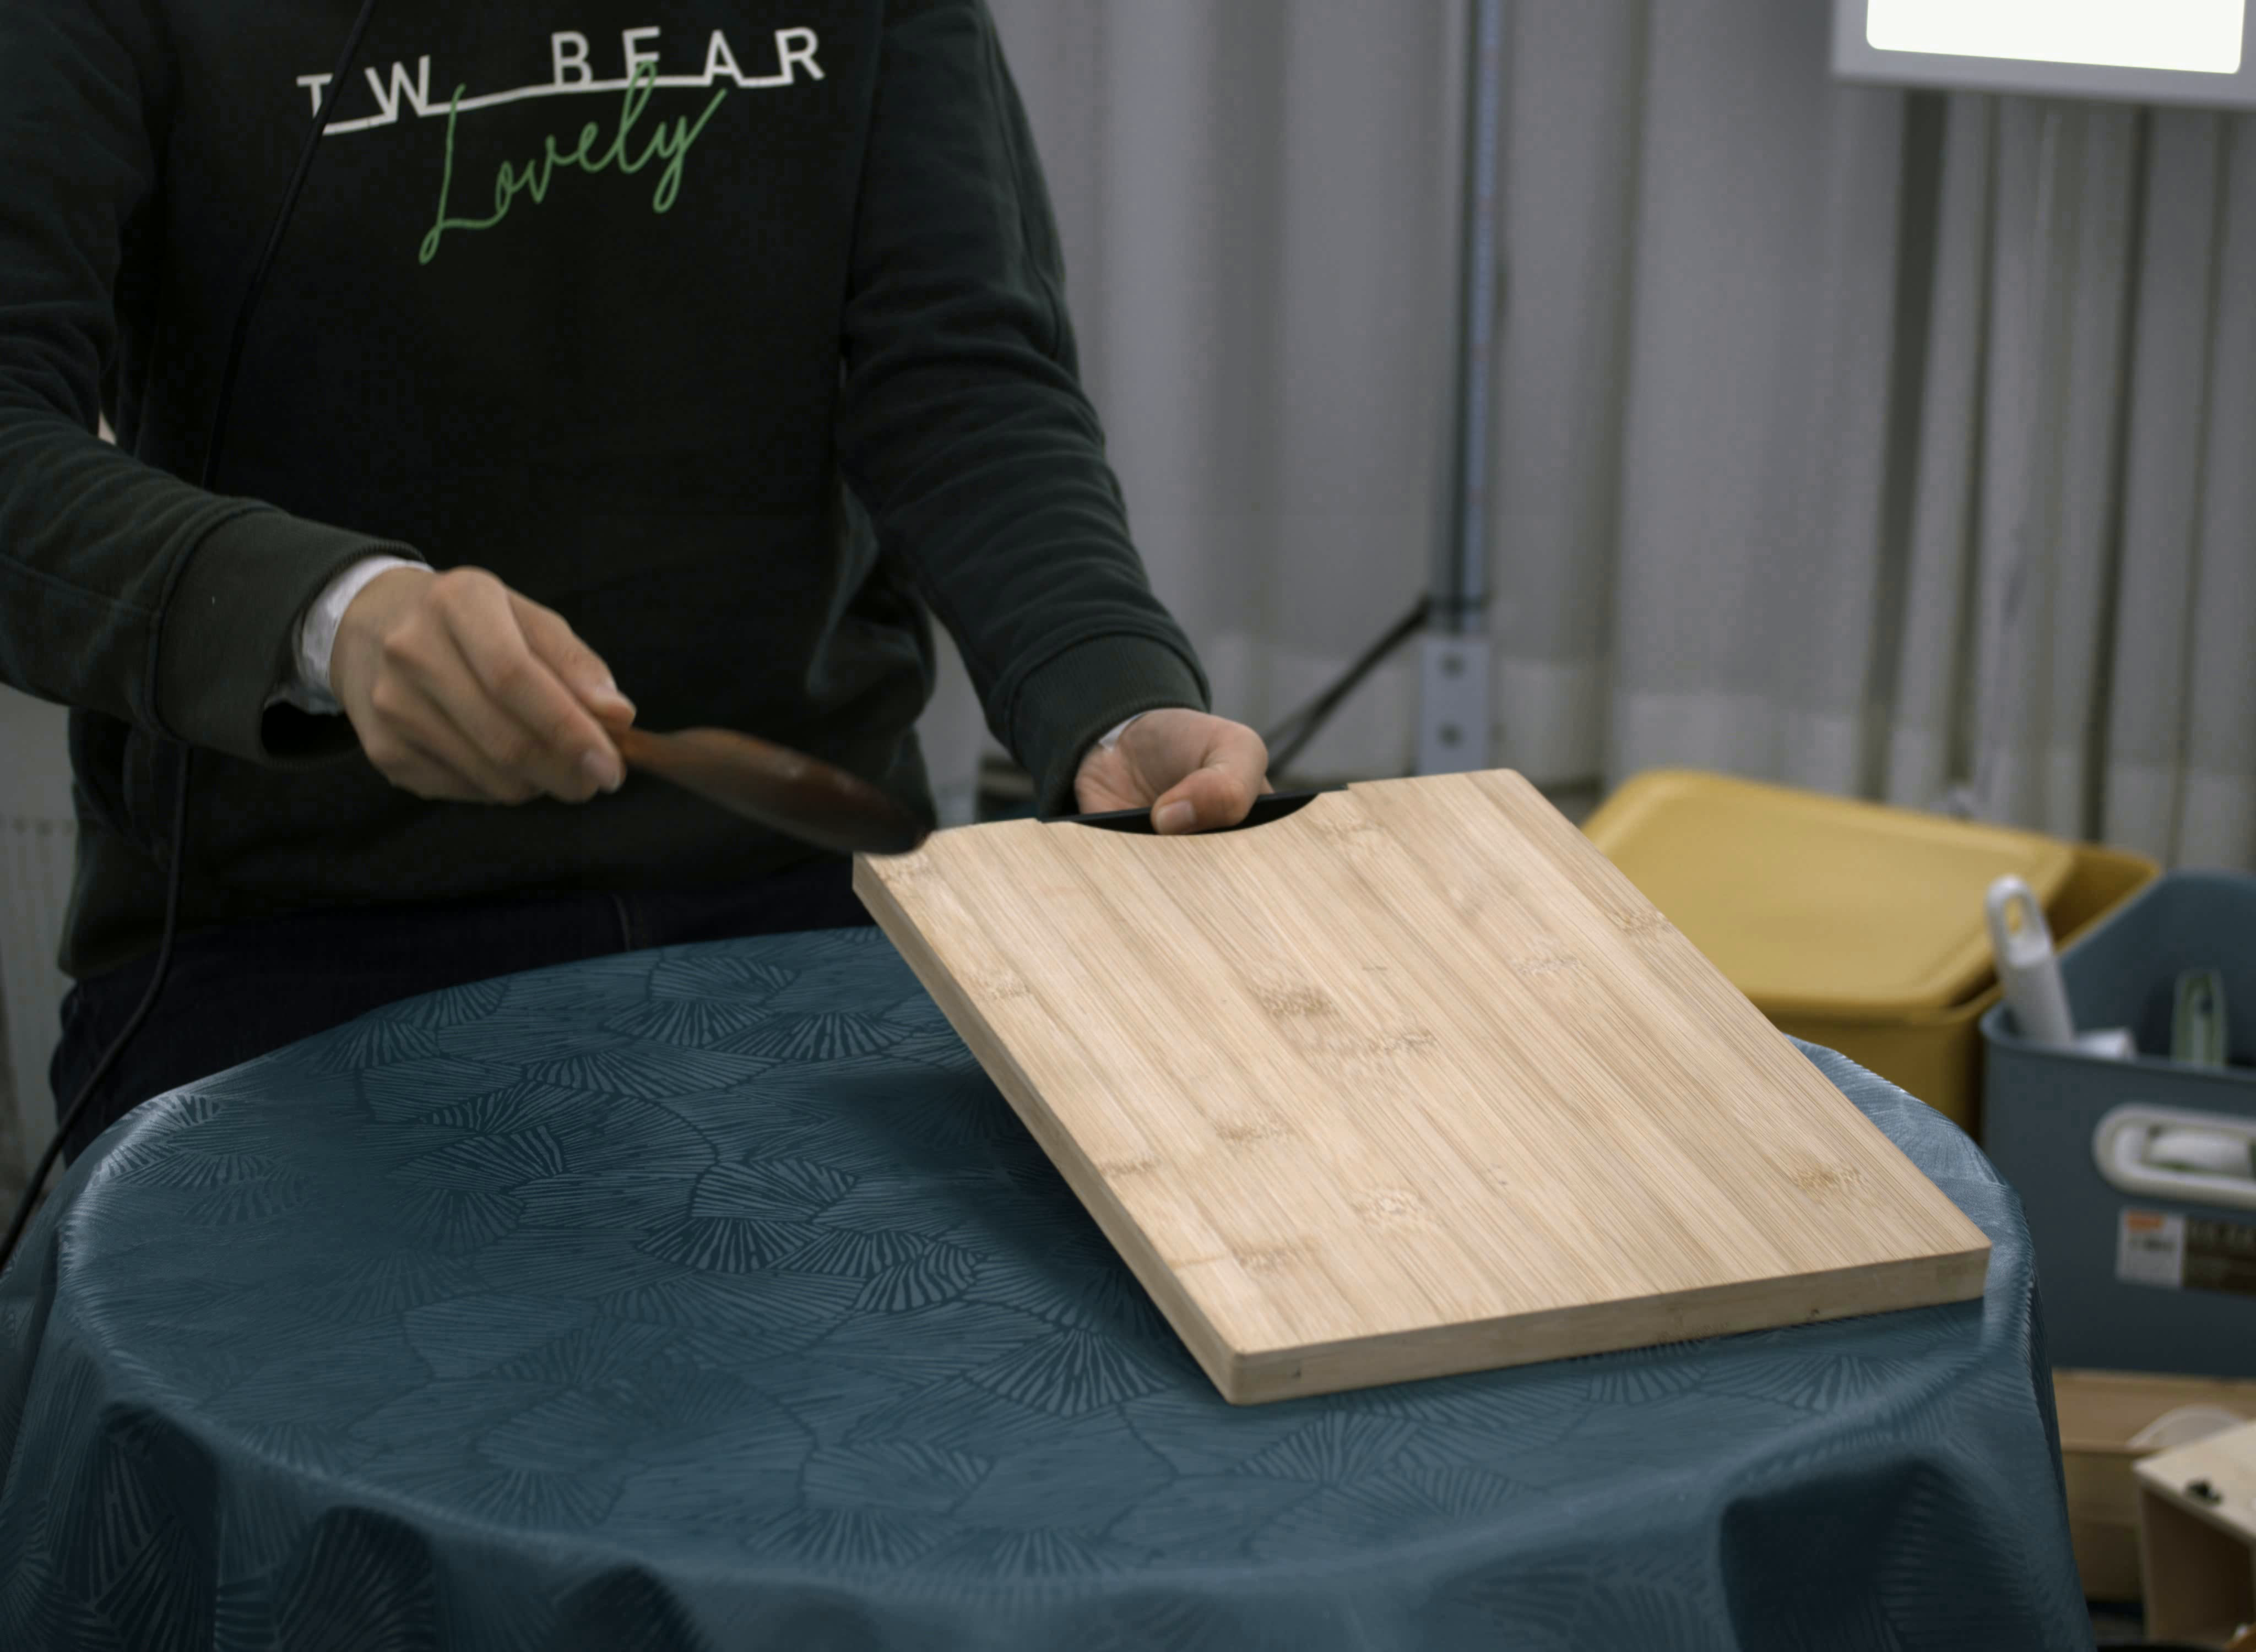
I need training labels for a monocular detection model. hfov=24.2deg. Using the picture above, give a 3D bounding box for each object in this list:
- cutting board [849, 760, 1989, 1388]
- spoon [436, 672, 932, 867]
[{"bbox_3d":[0.079,0.069,1.637,0.251,0.024,0.344,-5,28,-22],"label":"cutting board"},{"bbox_3d":[-0.138,-0.017,1.556,0.213,0.017,0.076,17,-6,46],"label":"spoon"}]
